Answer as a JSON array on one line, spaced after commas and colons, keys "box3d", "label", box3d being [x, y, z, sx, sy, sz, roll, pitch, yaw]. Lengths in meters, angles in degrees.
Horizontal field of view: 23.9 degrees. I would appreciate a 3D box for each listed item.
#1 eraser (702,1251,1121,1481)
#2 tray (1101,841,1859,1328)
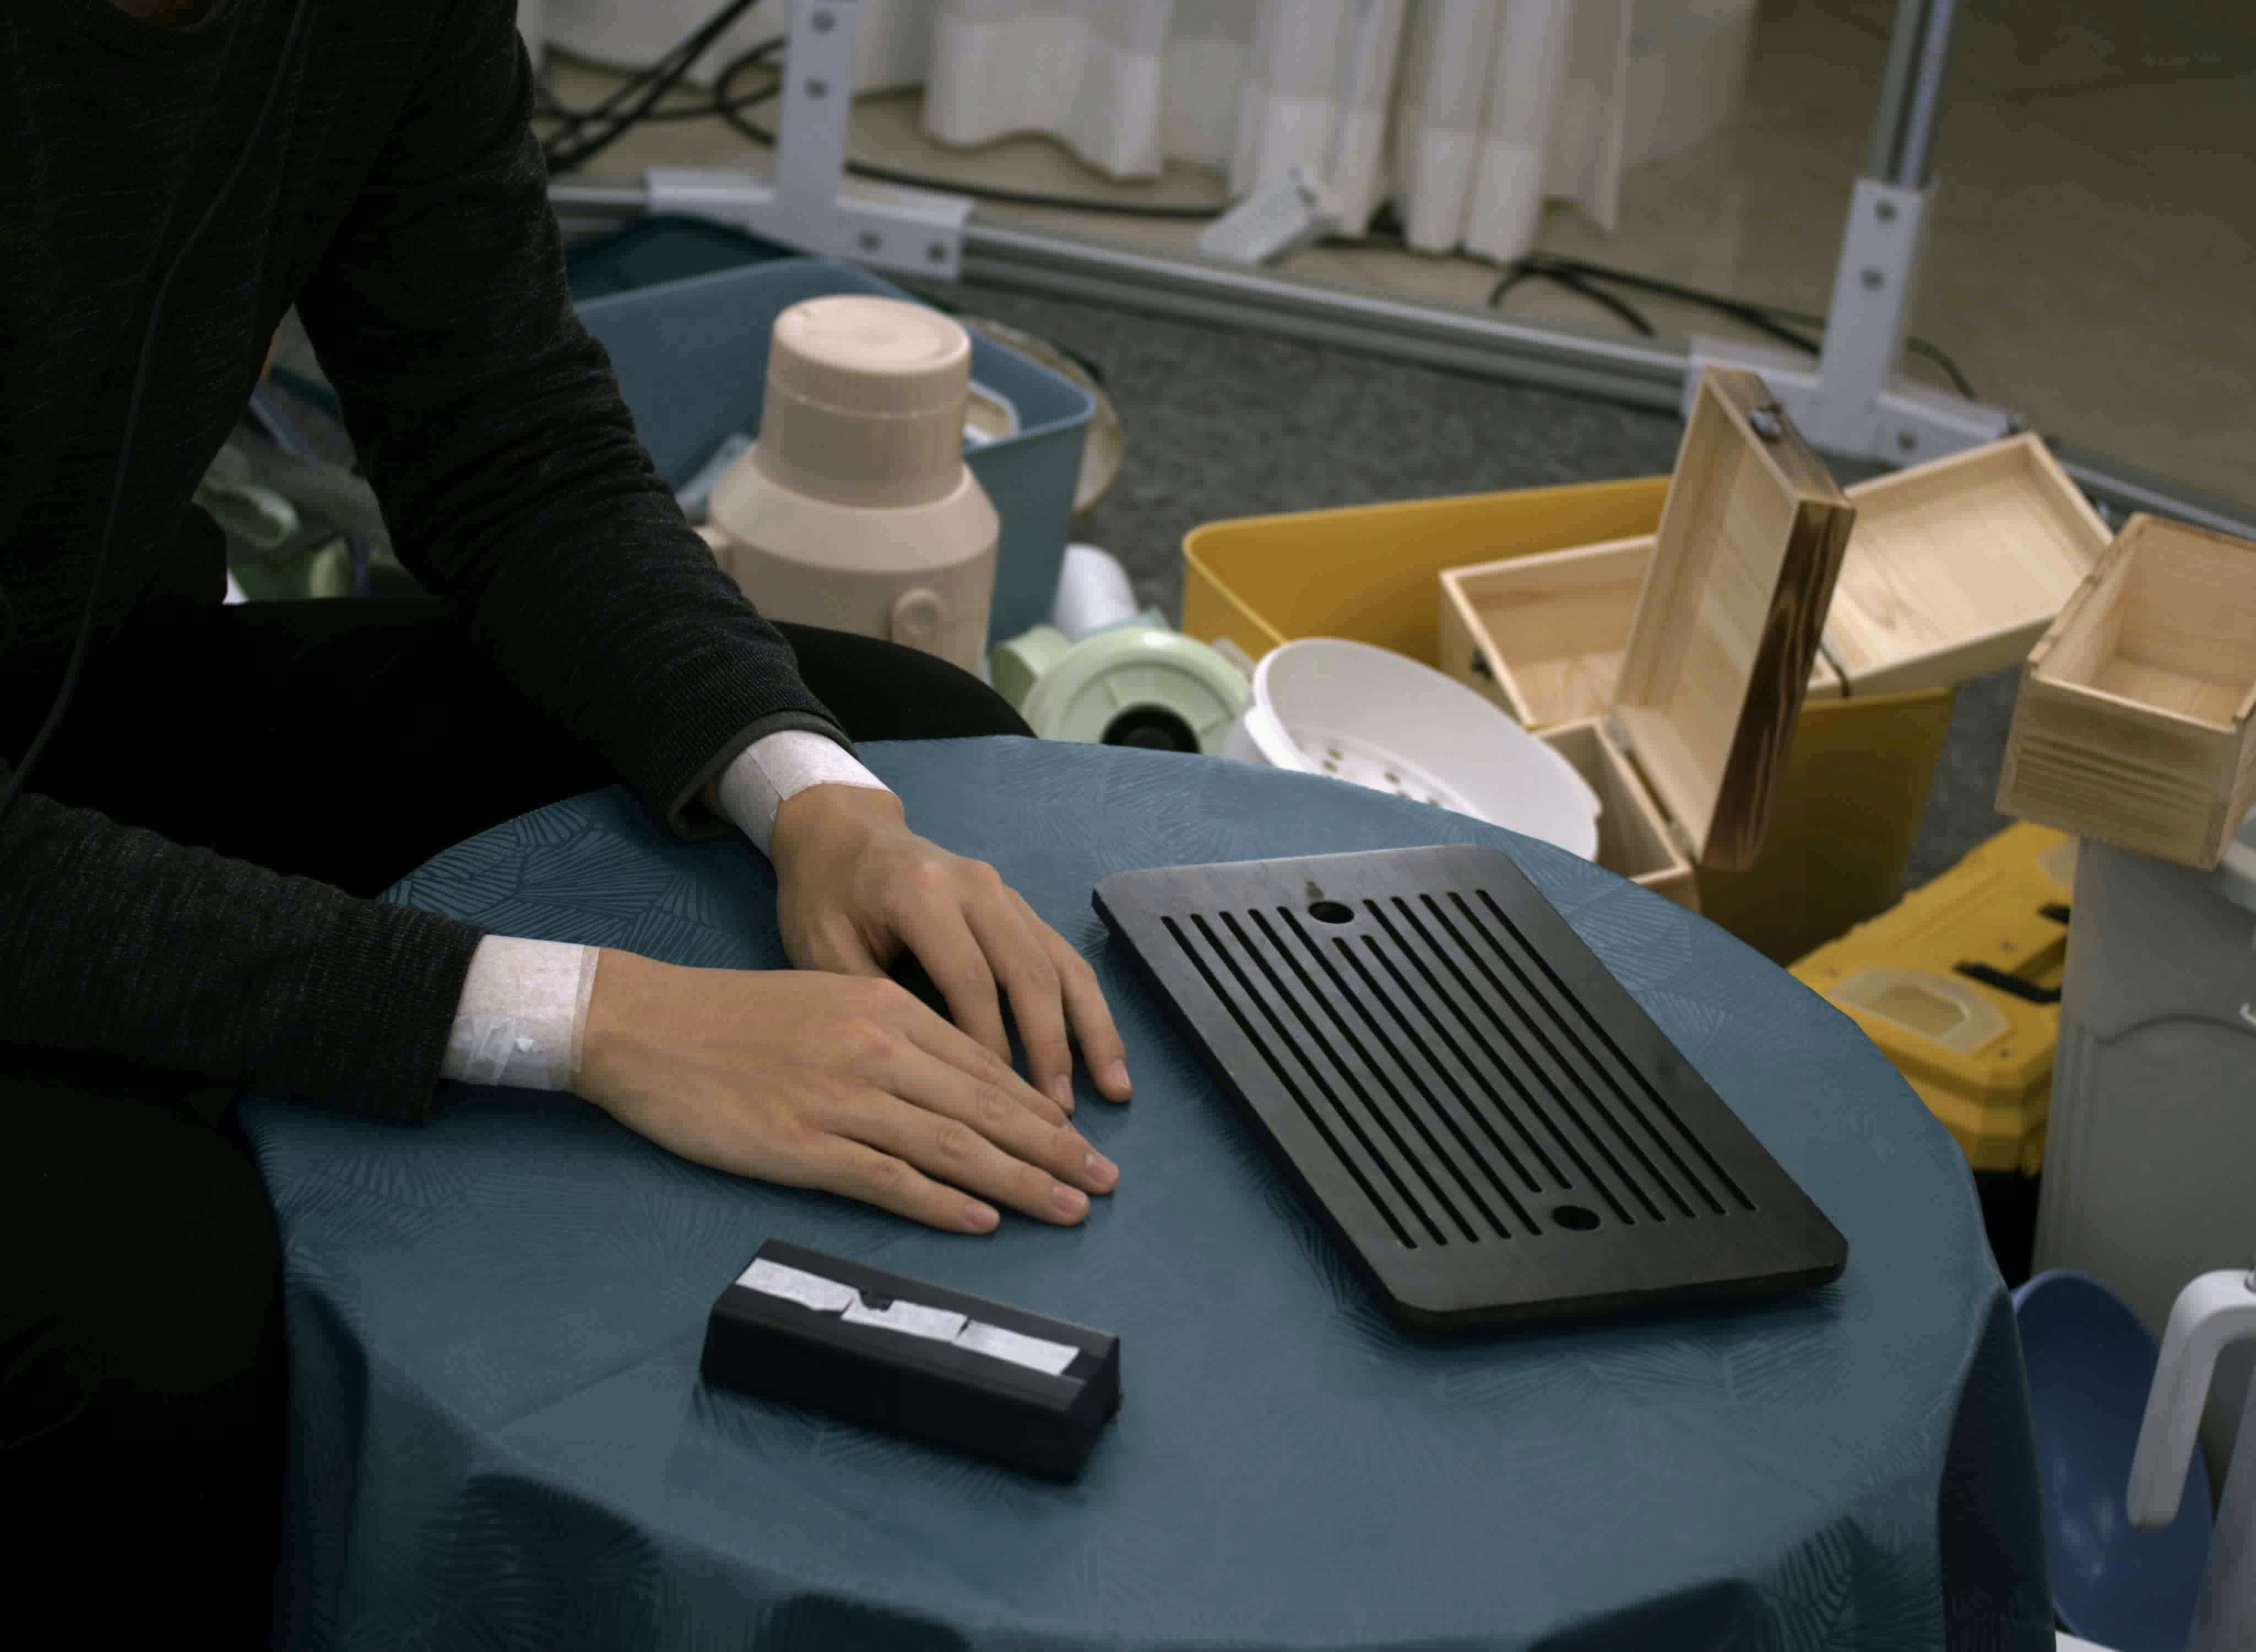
[{"box3d": [-0.068, 0.169, 1.668, 0.126, 0.030, 0.053, 13, 25, 15], "label": "eraser"}, {"box3d": [0.117, 0.088, 1.878, 0.169, 0.018, 0.308, -5, 29, -20], "label": "tray"}]
